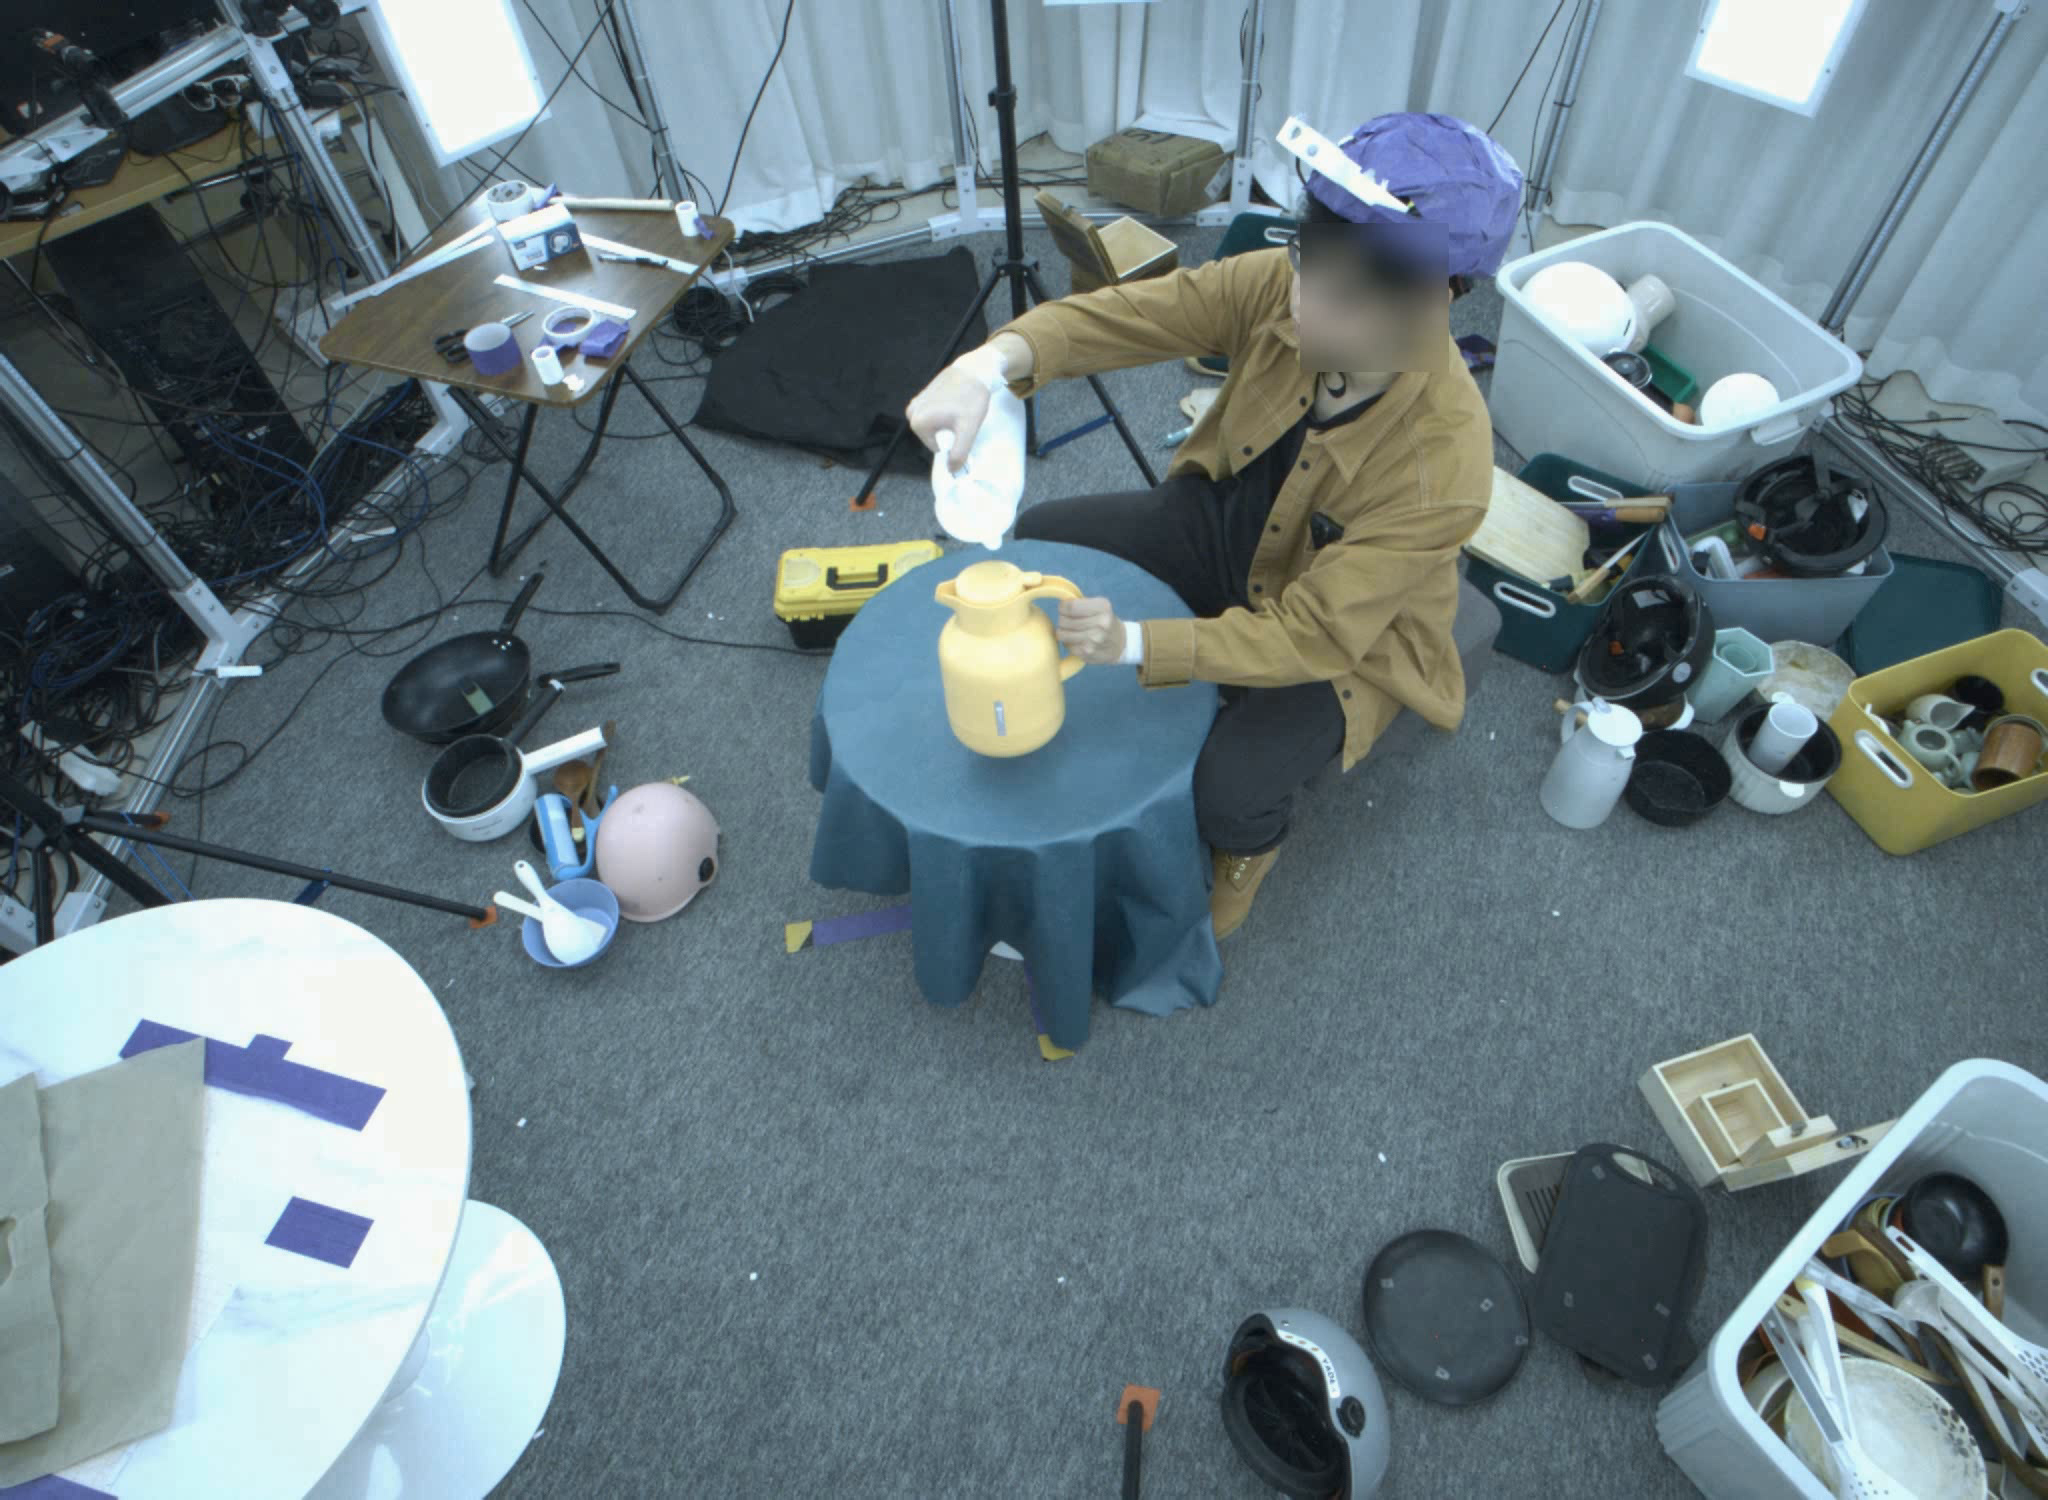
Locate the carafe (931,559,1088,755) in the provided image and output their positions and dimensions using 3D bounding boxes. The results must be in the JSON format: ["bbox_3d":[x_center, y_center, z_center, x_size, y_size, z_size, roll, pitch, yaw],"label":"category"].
[{"bbox_3d":[-0.015,-0.128,1.629,0.202,0.264,0.161,-4,46,5],"label":"carafe"}]

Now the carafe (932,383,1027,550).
[{"bbox_3d":[-0.066,-0.391,1.562,0.123,0.176,0.266,-16,39,16],"label":"carafe"}]
